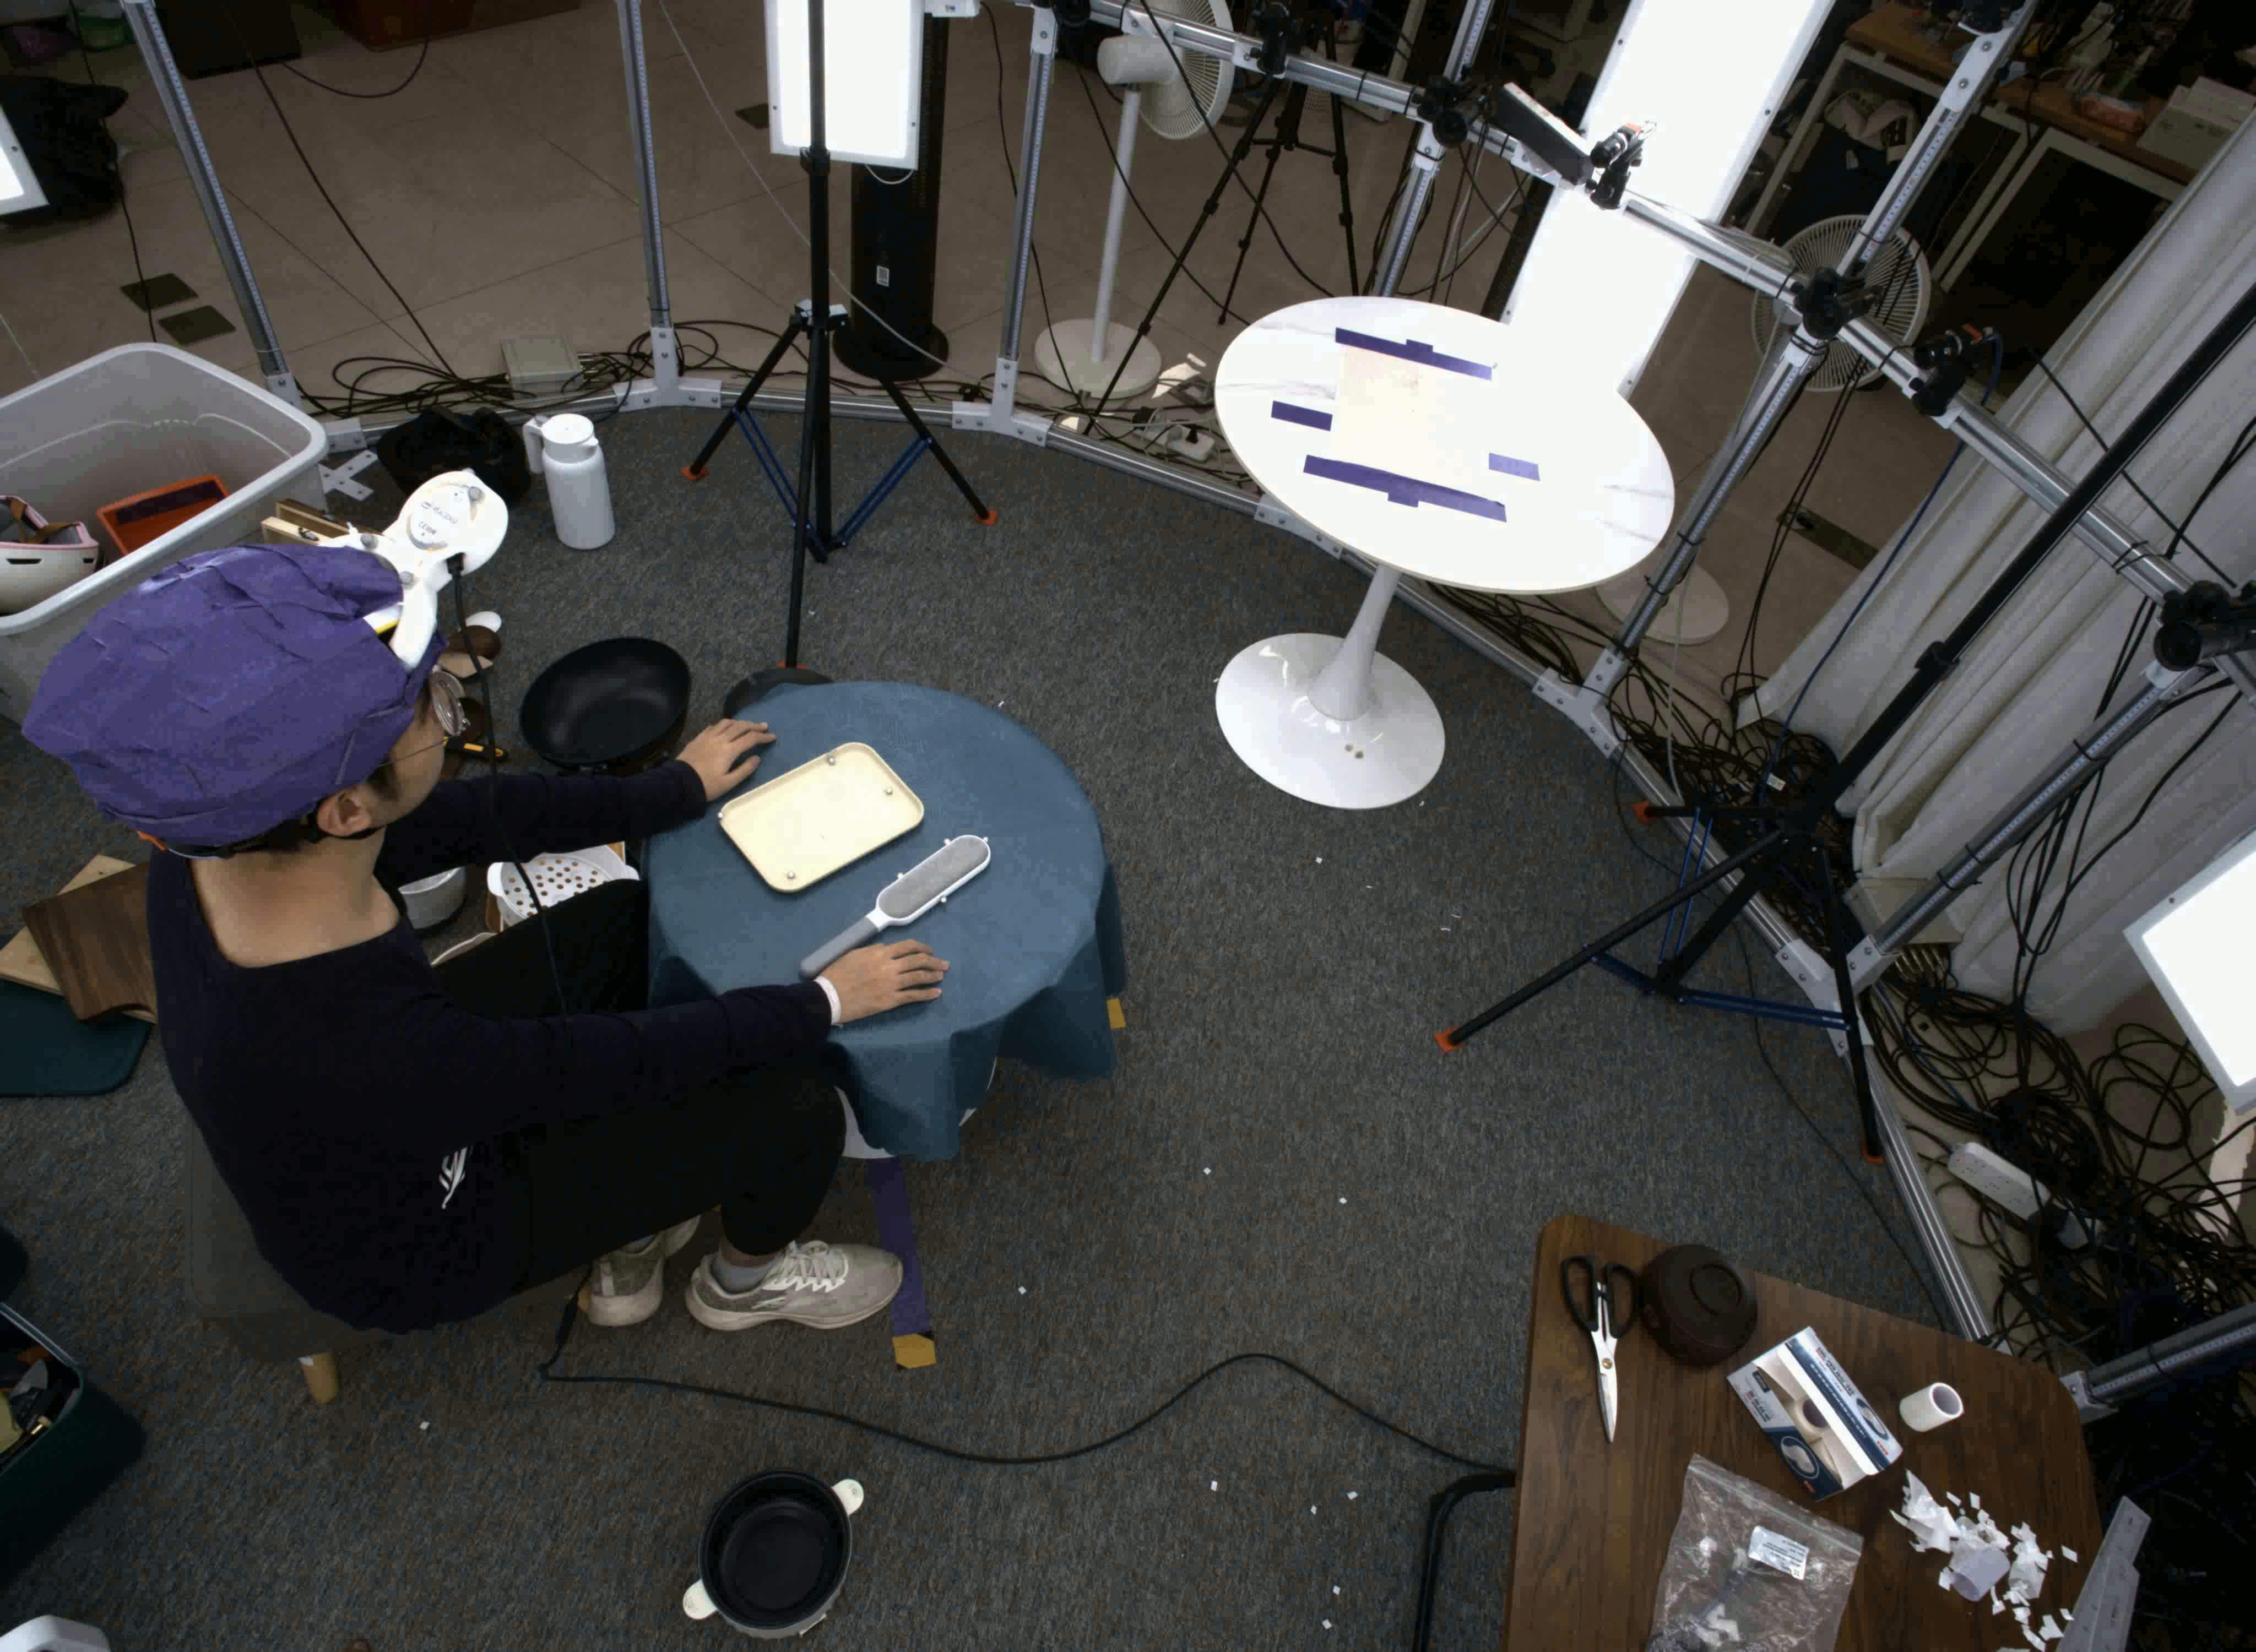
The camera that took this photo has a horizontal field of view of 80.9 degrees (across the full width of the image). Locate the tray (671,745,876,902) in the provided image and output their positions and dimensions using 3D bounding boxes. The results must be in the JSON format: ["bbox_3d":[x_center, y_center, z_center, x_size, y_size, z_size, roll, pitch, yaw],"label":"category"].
[{"bbox_3d":[-0.468,-0.006,1.717,0.167,0.018,0.240,43,56,17],"label":"tray"}]

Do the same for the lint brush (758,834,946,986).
[{"bbox_3d":[-0.351,0.102,1.660,0.059,0.021,0.309,42,55,11],"label":"lint brush"}]
